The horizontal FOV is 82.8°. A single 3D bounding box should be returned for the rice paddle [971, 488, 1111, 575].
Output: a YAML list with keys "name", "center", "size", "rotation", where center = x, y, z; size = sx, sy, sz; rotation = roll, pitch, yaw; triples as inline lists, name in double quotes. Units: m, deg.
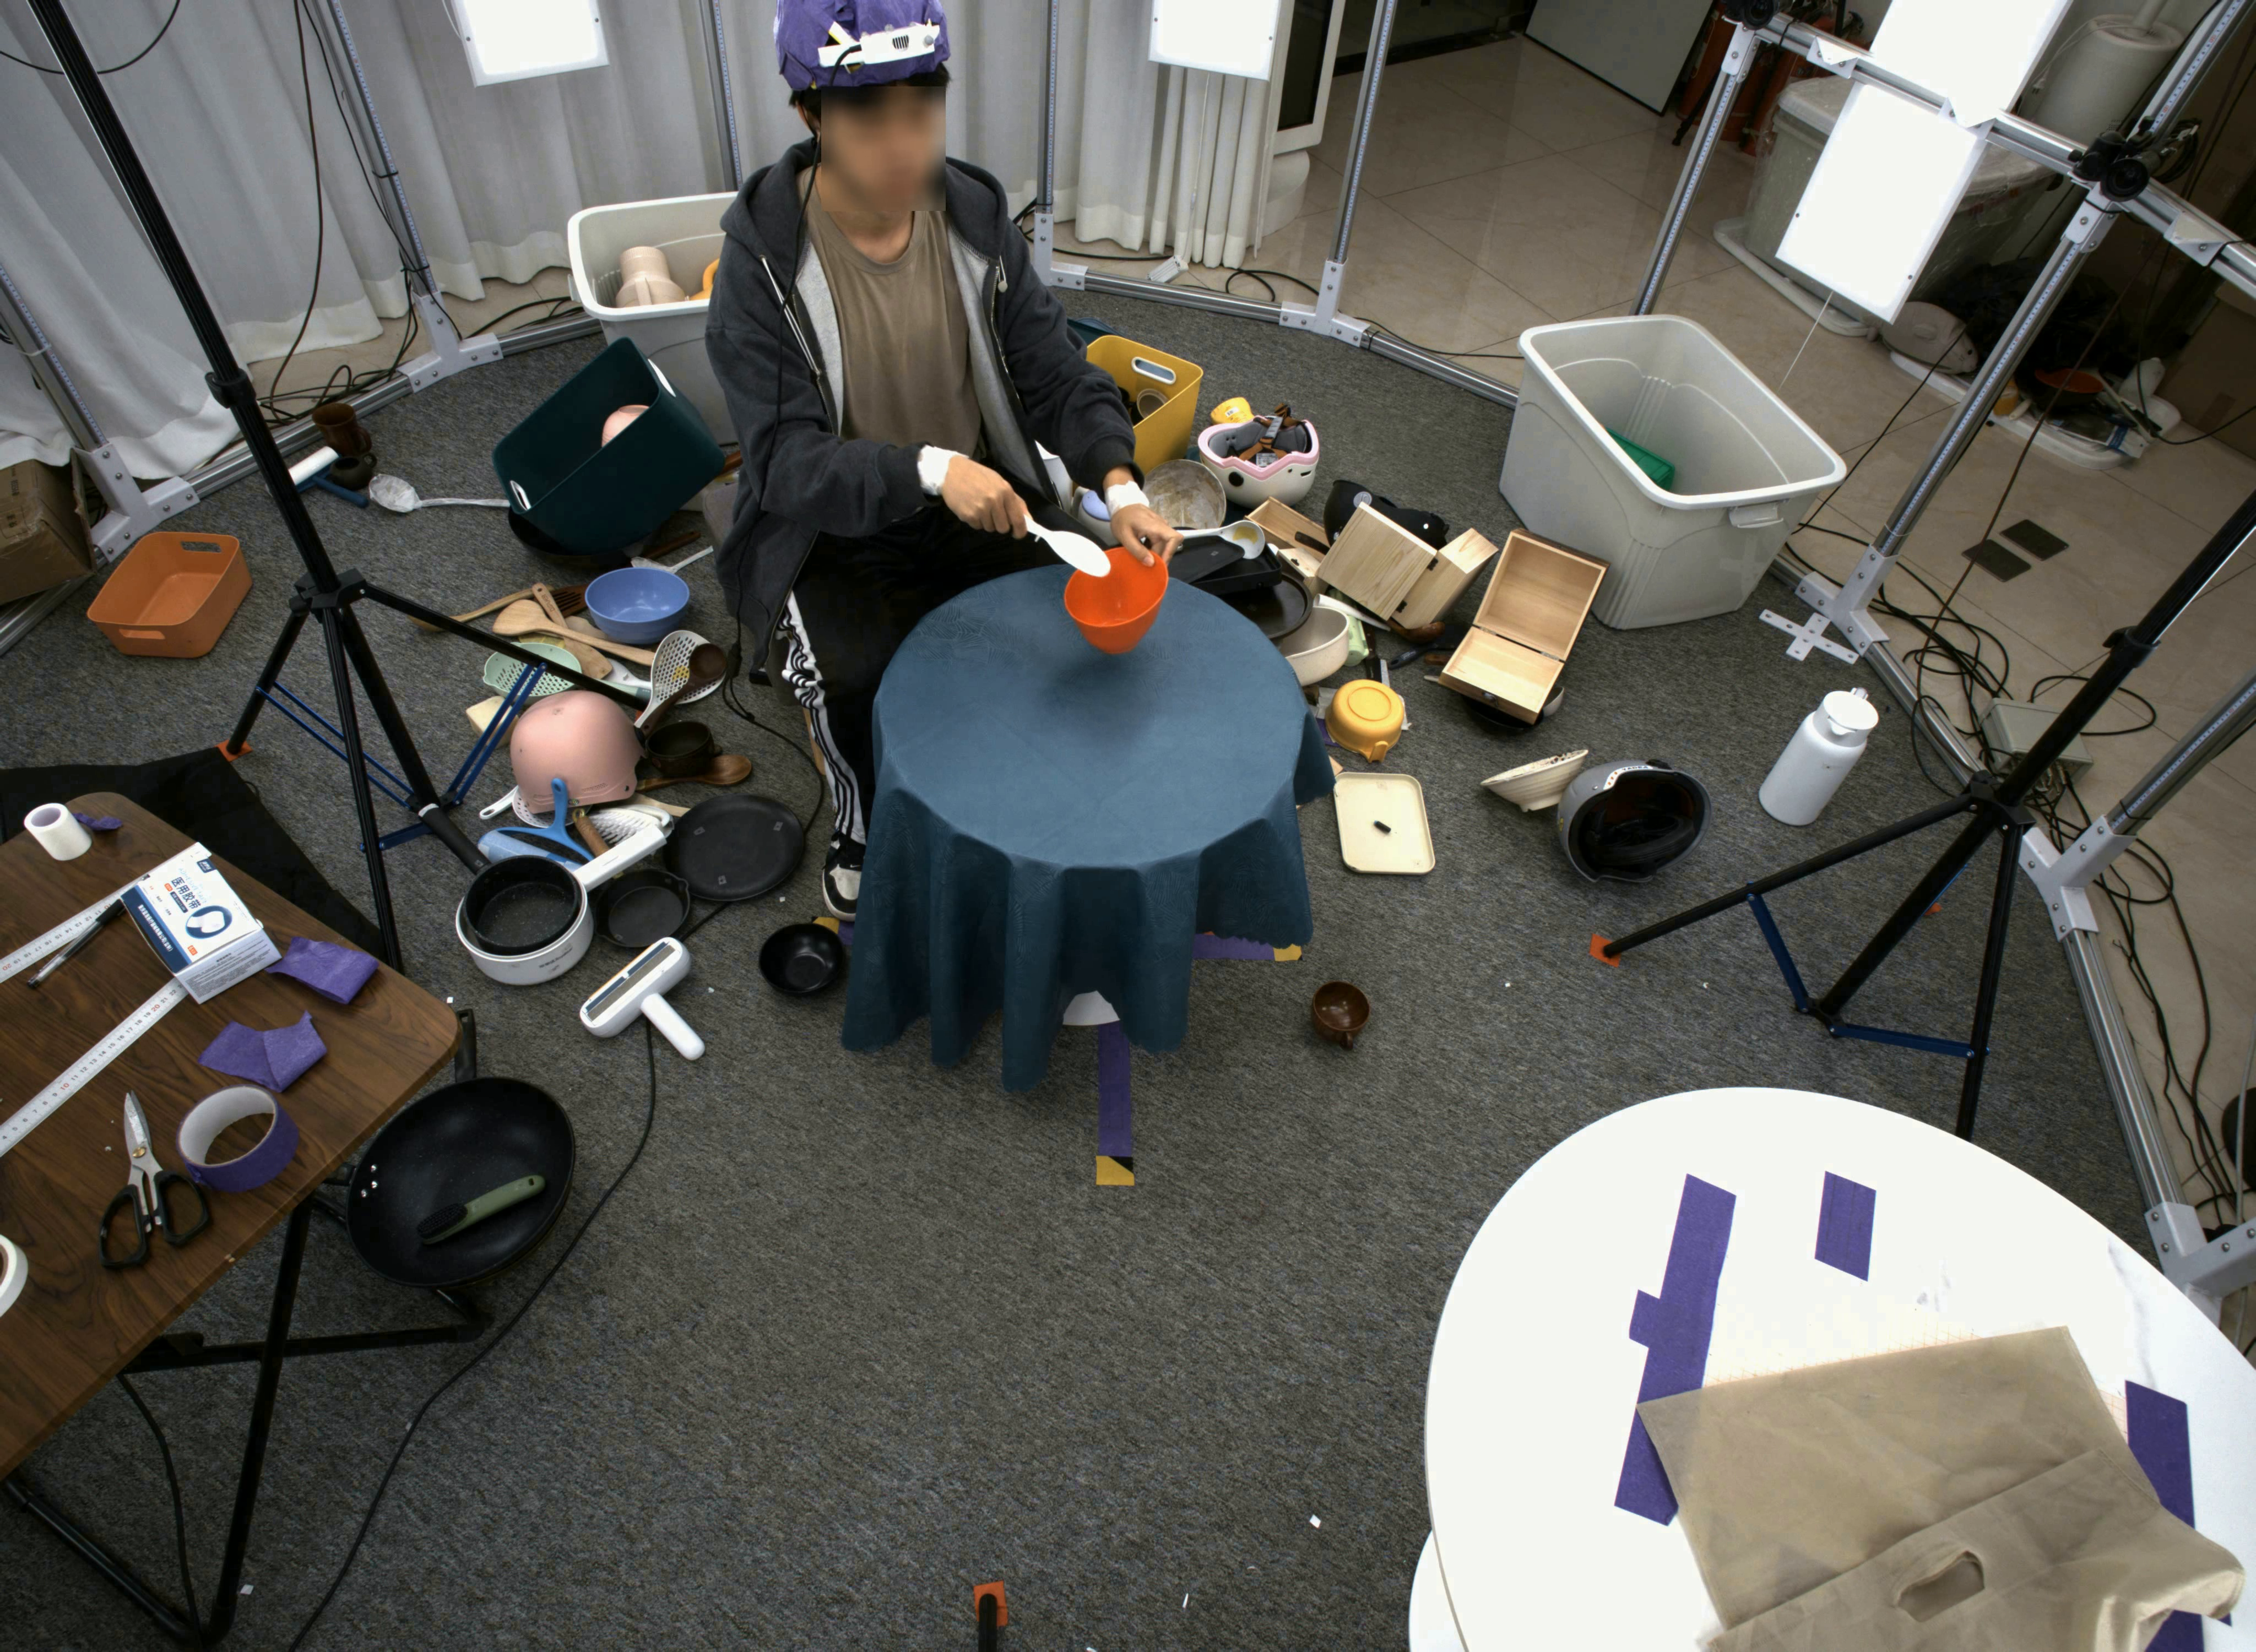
- name: "rice paddle"
  center: [-0.111, -0.394, 1.730]
  size: [0.203, 0.029, 0.070]
  rotation: [23, 47, -18]

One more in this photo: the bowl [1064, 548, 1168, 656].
- name: "bowl"
  center: [-0.011, -0.304, 1.804]
  size: [0.148, 0.102, 0.152]
  rotation: [-5, 50, 5]
